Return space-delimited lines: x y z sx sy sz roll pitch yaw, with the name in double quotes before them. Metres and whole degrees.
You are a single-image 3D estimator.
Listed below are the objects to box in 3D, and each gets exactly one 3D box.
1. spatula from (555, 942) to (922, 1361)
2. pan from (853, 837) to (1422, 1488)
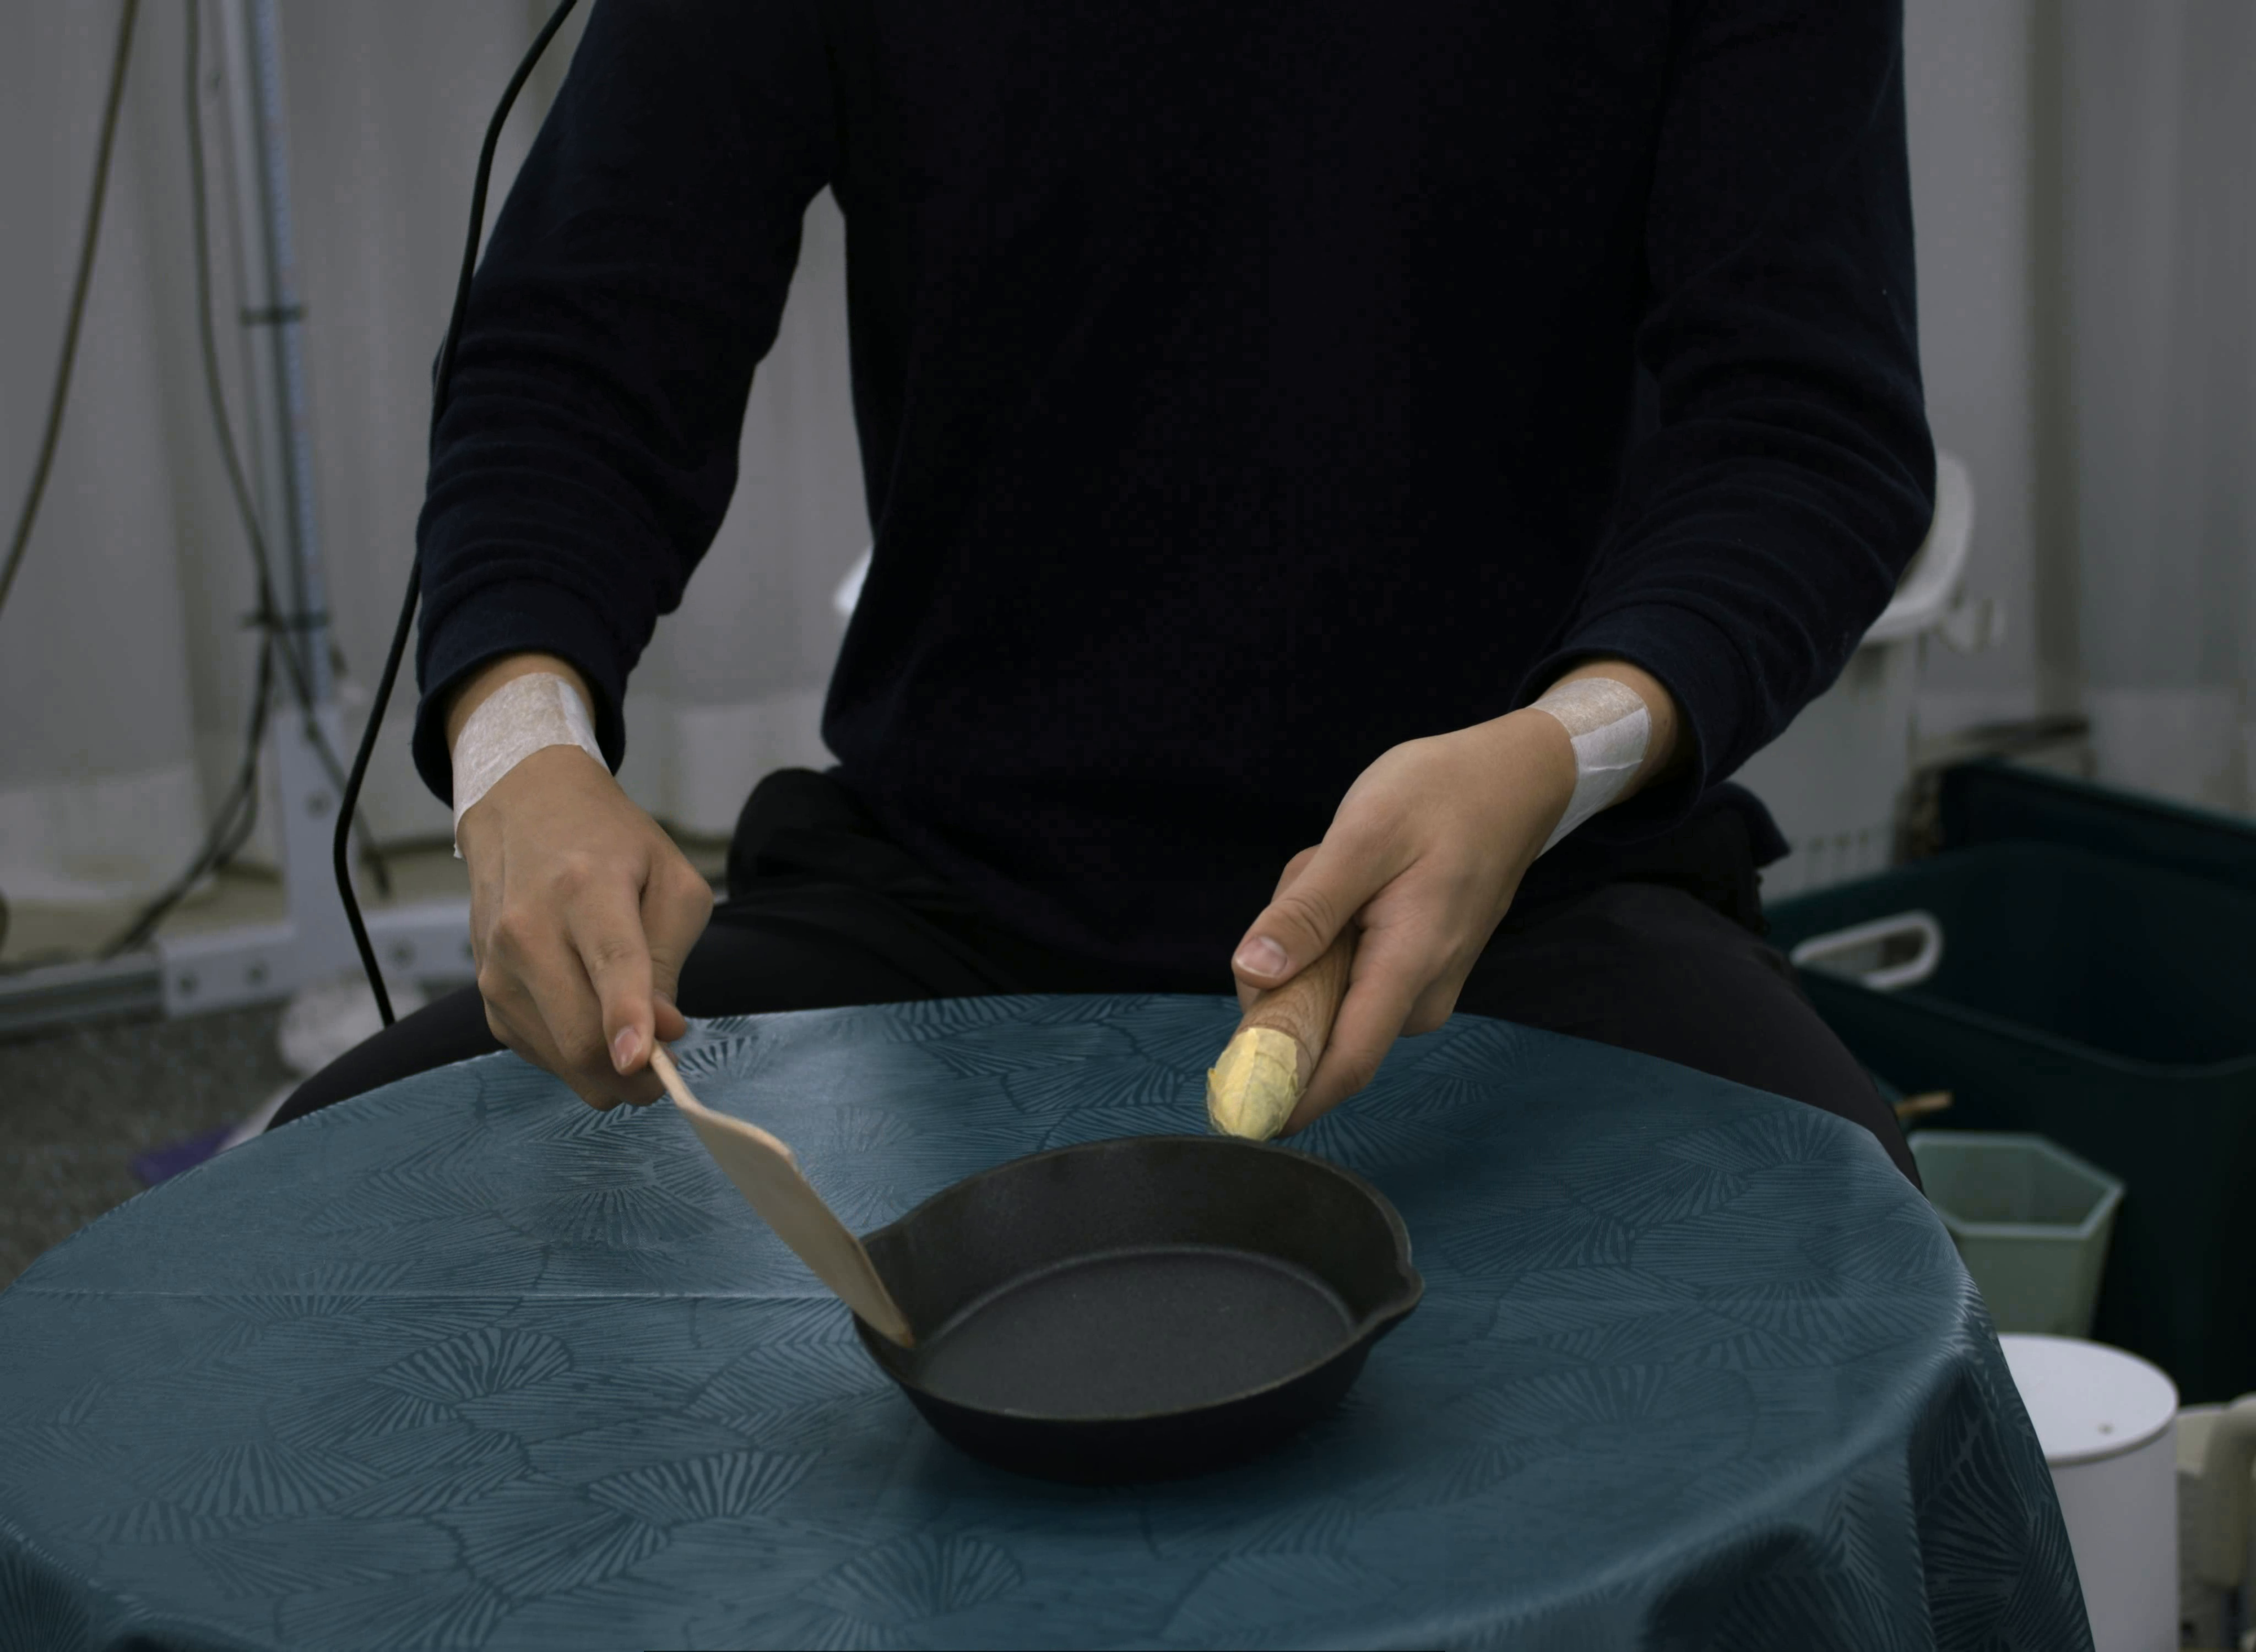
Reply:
"spatula" -0.123 0.082 1.599 0.016 0.079 0.330 -34 21 -7
"pan" 0.031 0.094 1.596 0.169 0.049 0.326 4 28 21
